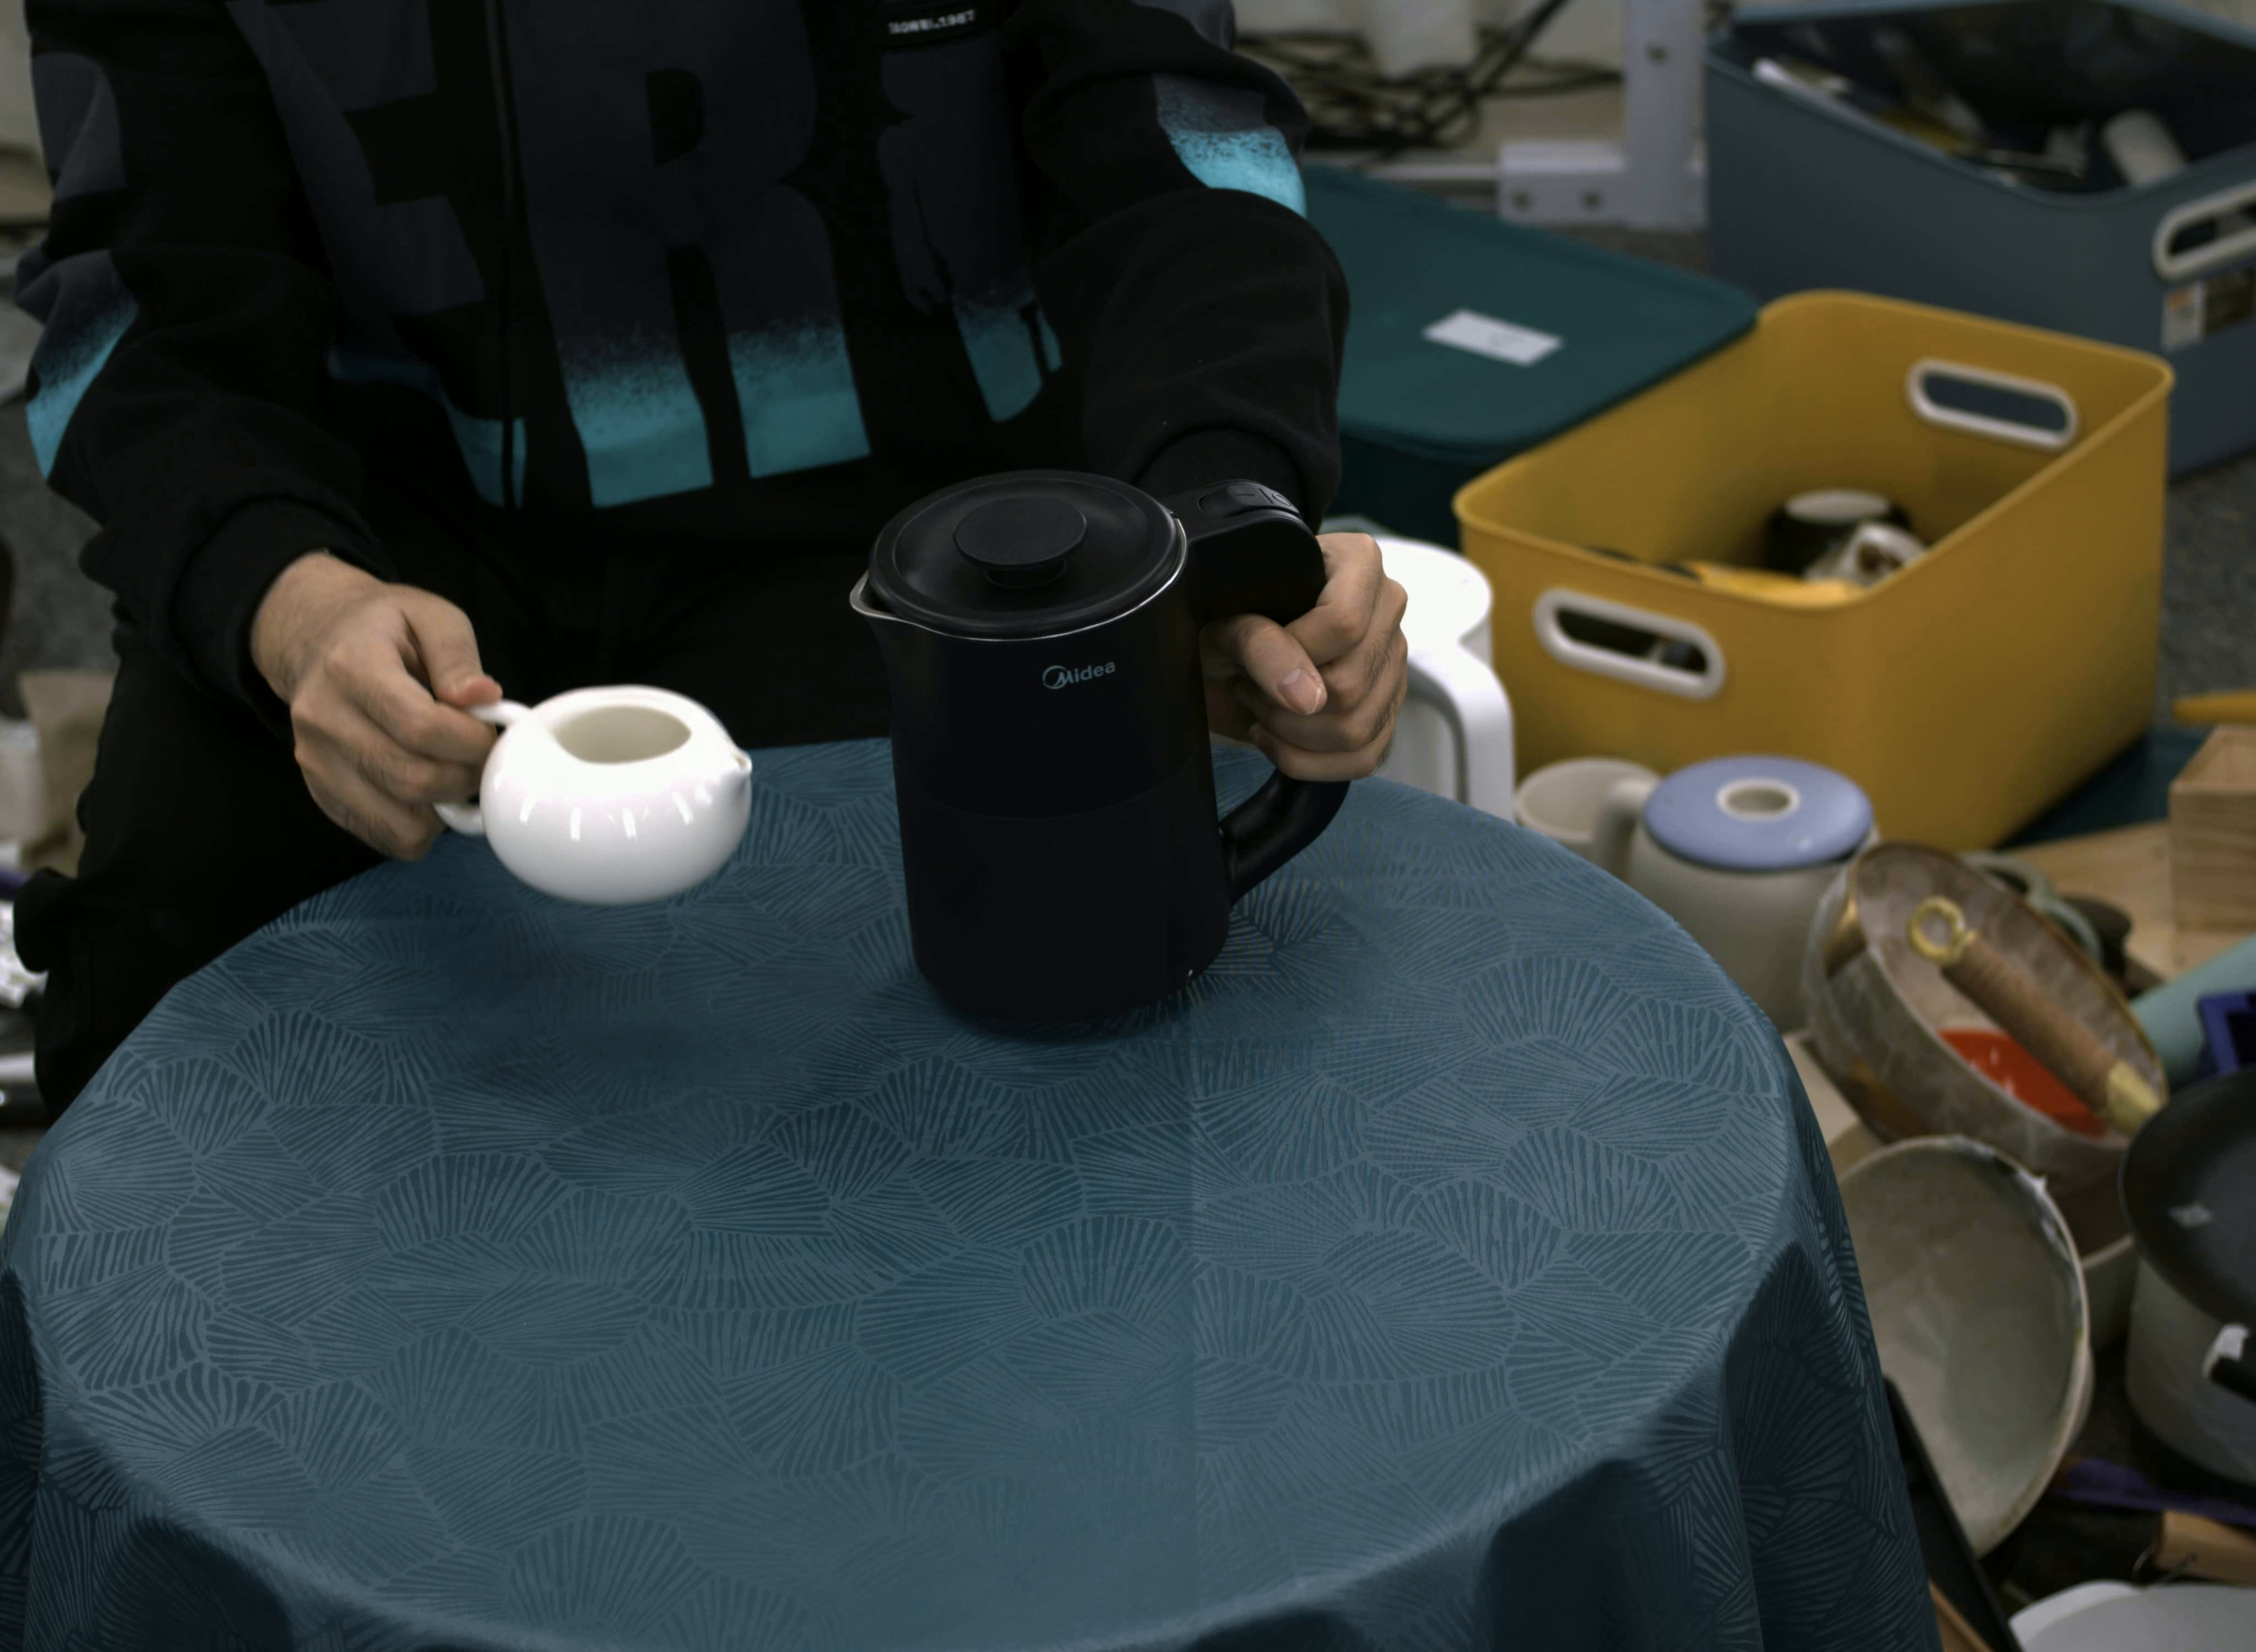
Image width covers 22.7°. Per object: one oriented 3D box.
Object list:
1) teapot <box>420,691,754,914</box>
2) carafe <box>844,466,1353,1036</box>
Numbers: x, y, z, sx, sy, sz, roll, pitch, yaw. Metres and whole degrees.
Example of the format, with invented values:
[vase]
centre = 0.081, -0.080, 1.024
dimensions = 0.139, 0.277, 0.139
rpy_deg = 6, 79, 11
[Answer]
[teapot]
centre = -0.185, -0.009, 1.924
dimensions = 0.126, 0.056, 0.095
rpy_deg = 8, 31, 15
[carafe]
centre = -0.008, -0.038, 1.953
dimensions = 0.172, 0.171, 0.115
rpy_deg = -19, 32, -17
